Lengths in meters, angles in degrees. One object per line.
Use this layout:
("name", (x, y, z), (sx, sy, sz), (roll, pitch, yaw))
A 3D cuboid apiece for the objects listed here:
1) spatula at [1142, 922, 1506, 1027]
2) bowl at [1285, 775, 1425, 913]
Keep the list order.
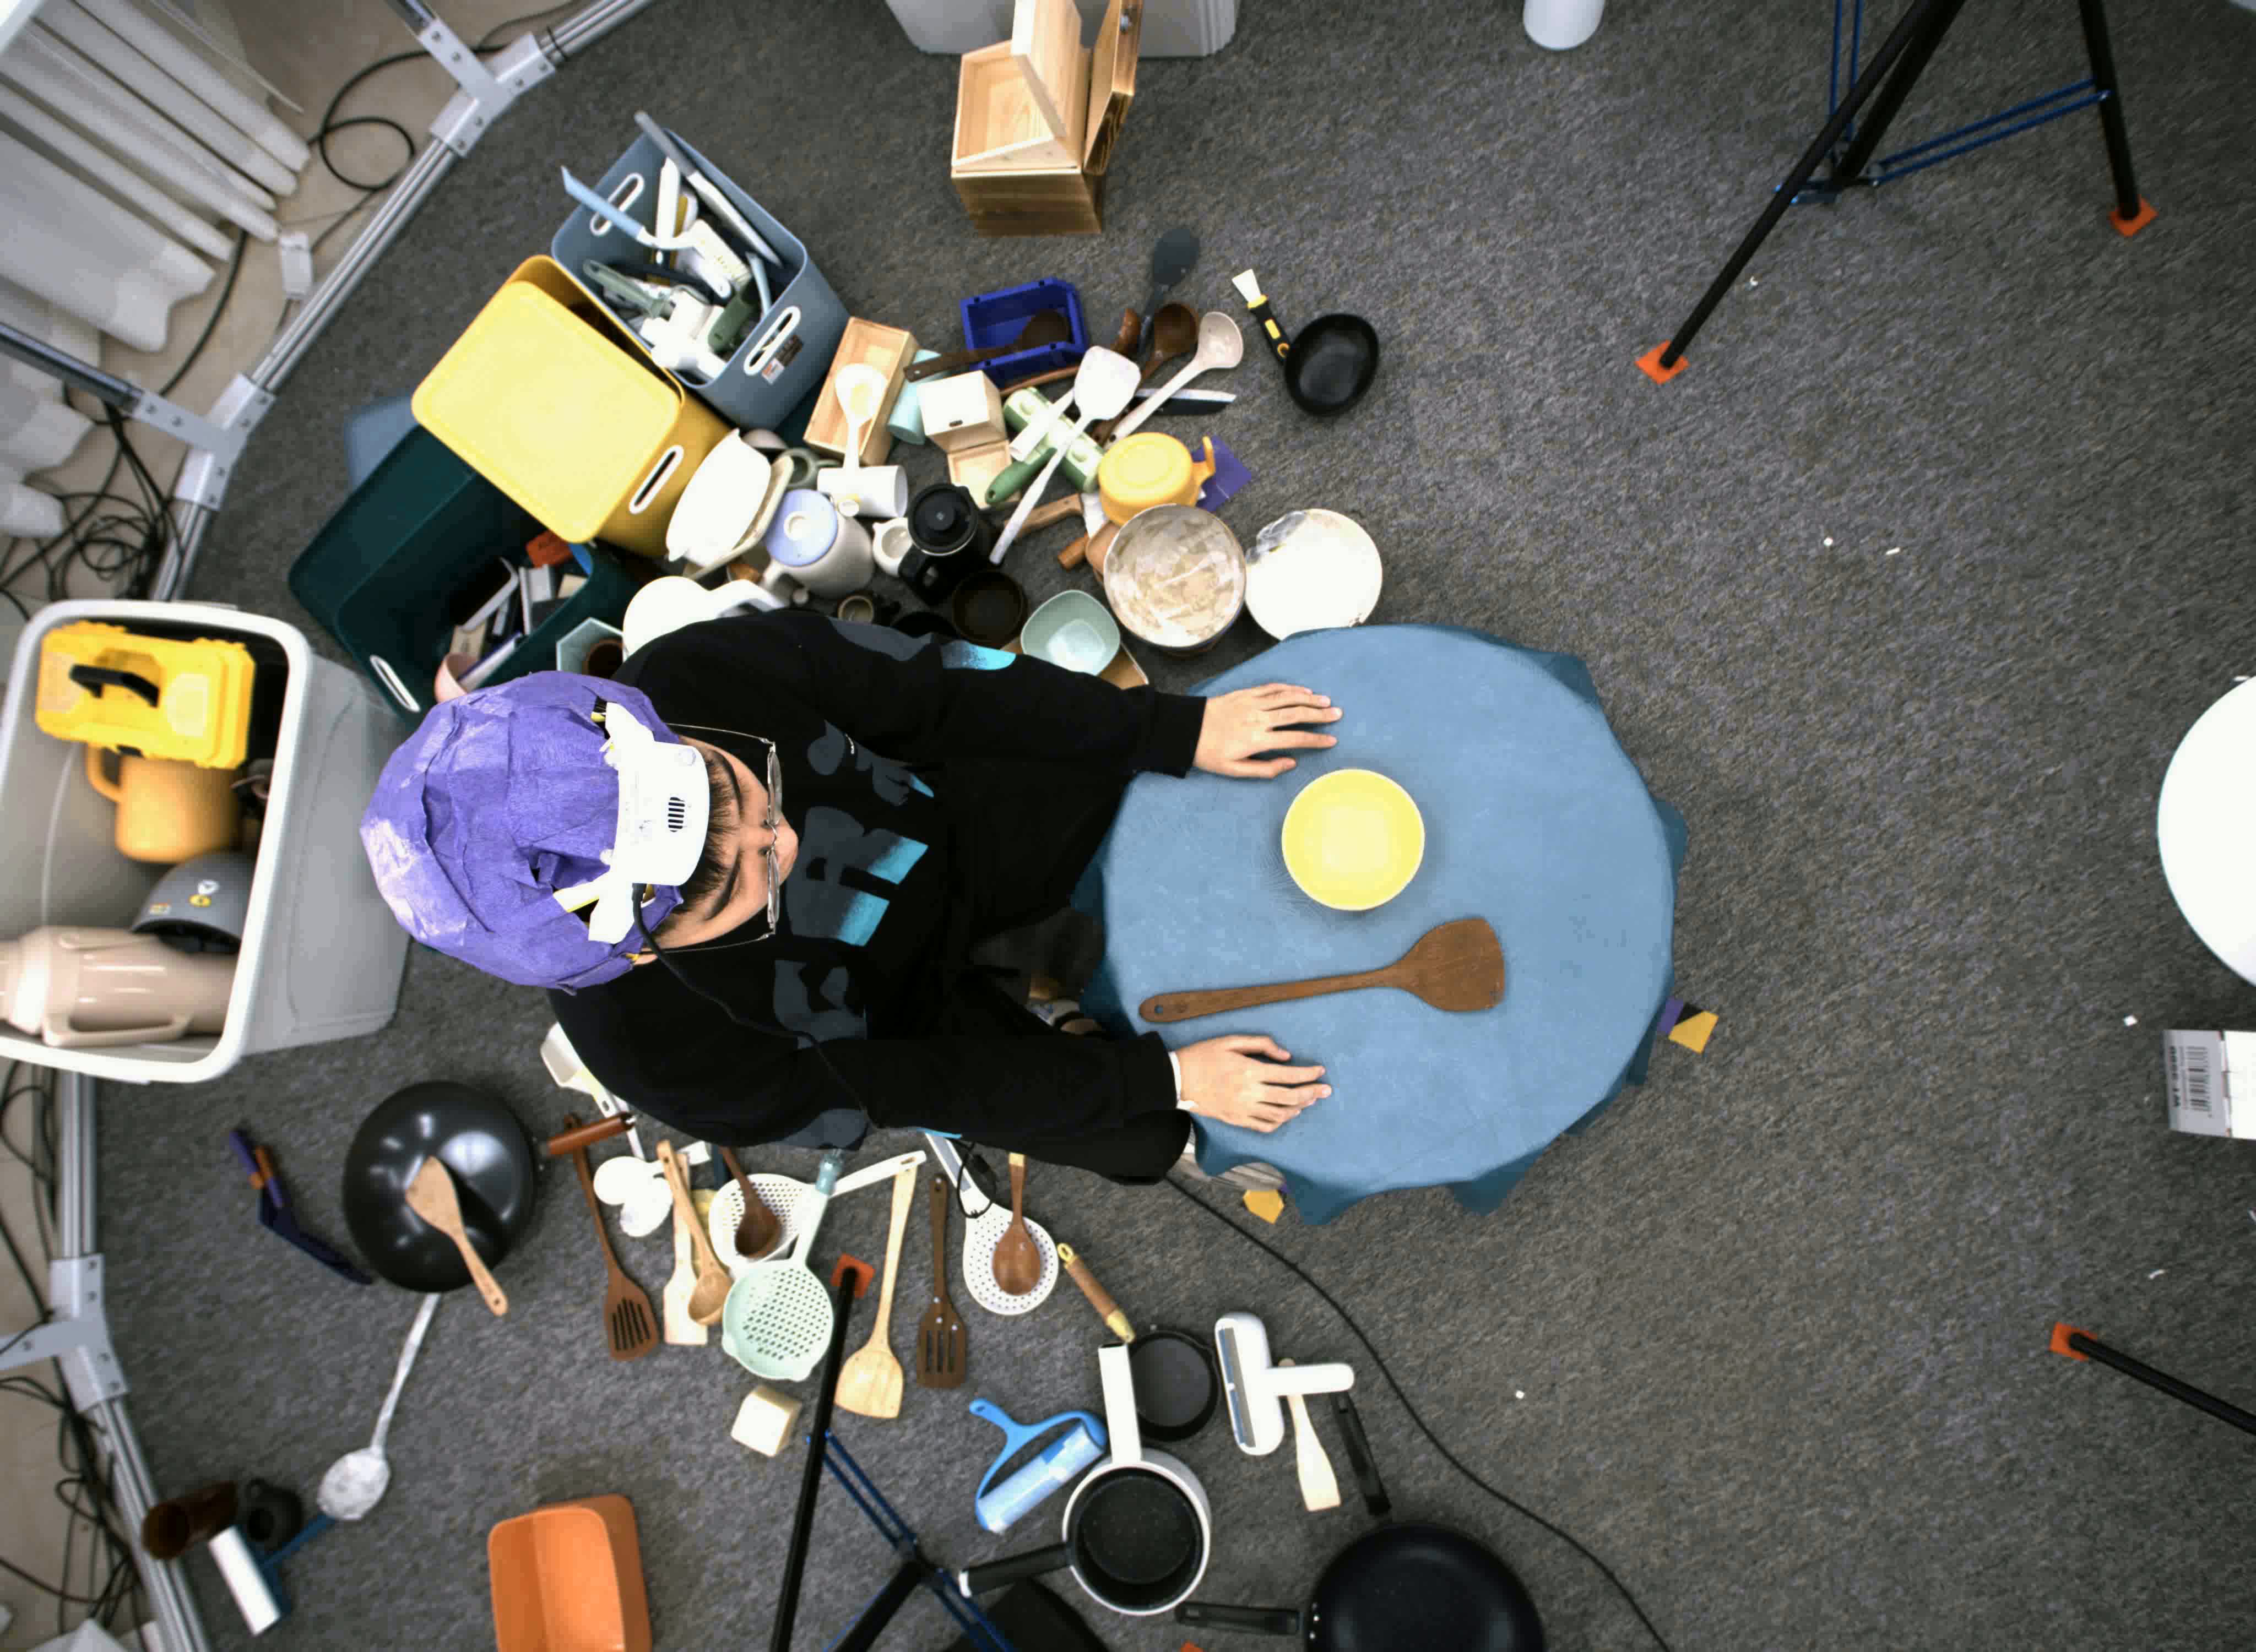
("spatula", (0.202, 0.172, 1.463), (0.388, 0.016, 0.095), (-10, 84, 10))
("bowl", (0.238, 0.021, 1.446), (0.146, 0.060, 0.144), (-2, 83, 11))
